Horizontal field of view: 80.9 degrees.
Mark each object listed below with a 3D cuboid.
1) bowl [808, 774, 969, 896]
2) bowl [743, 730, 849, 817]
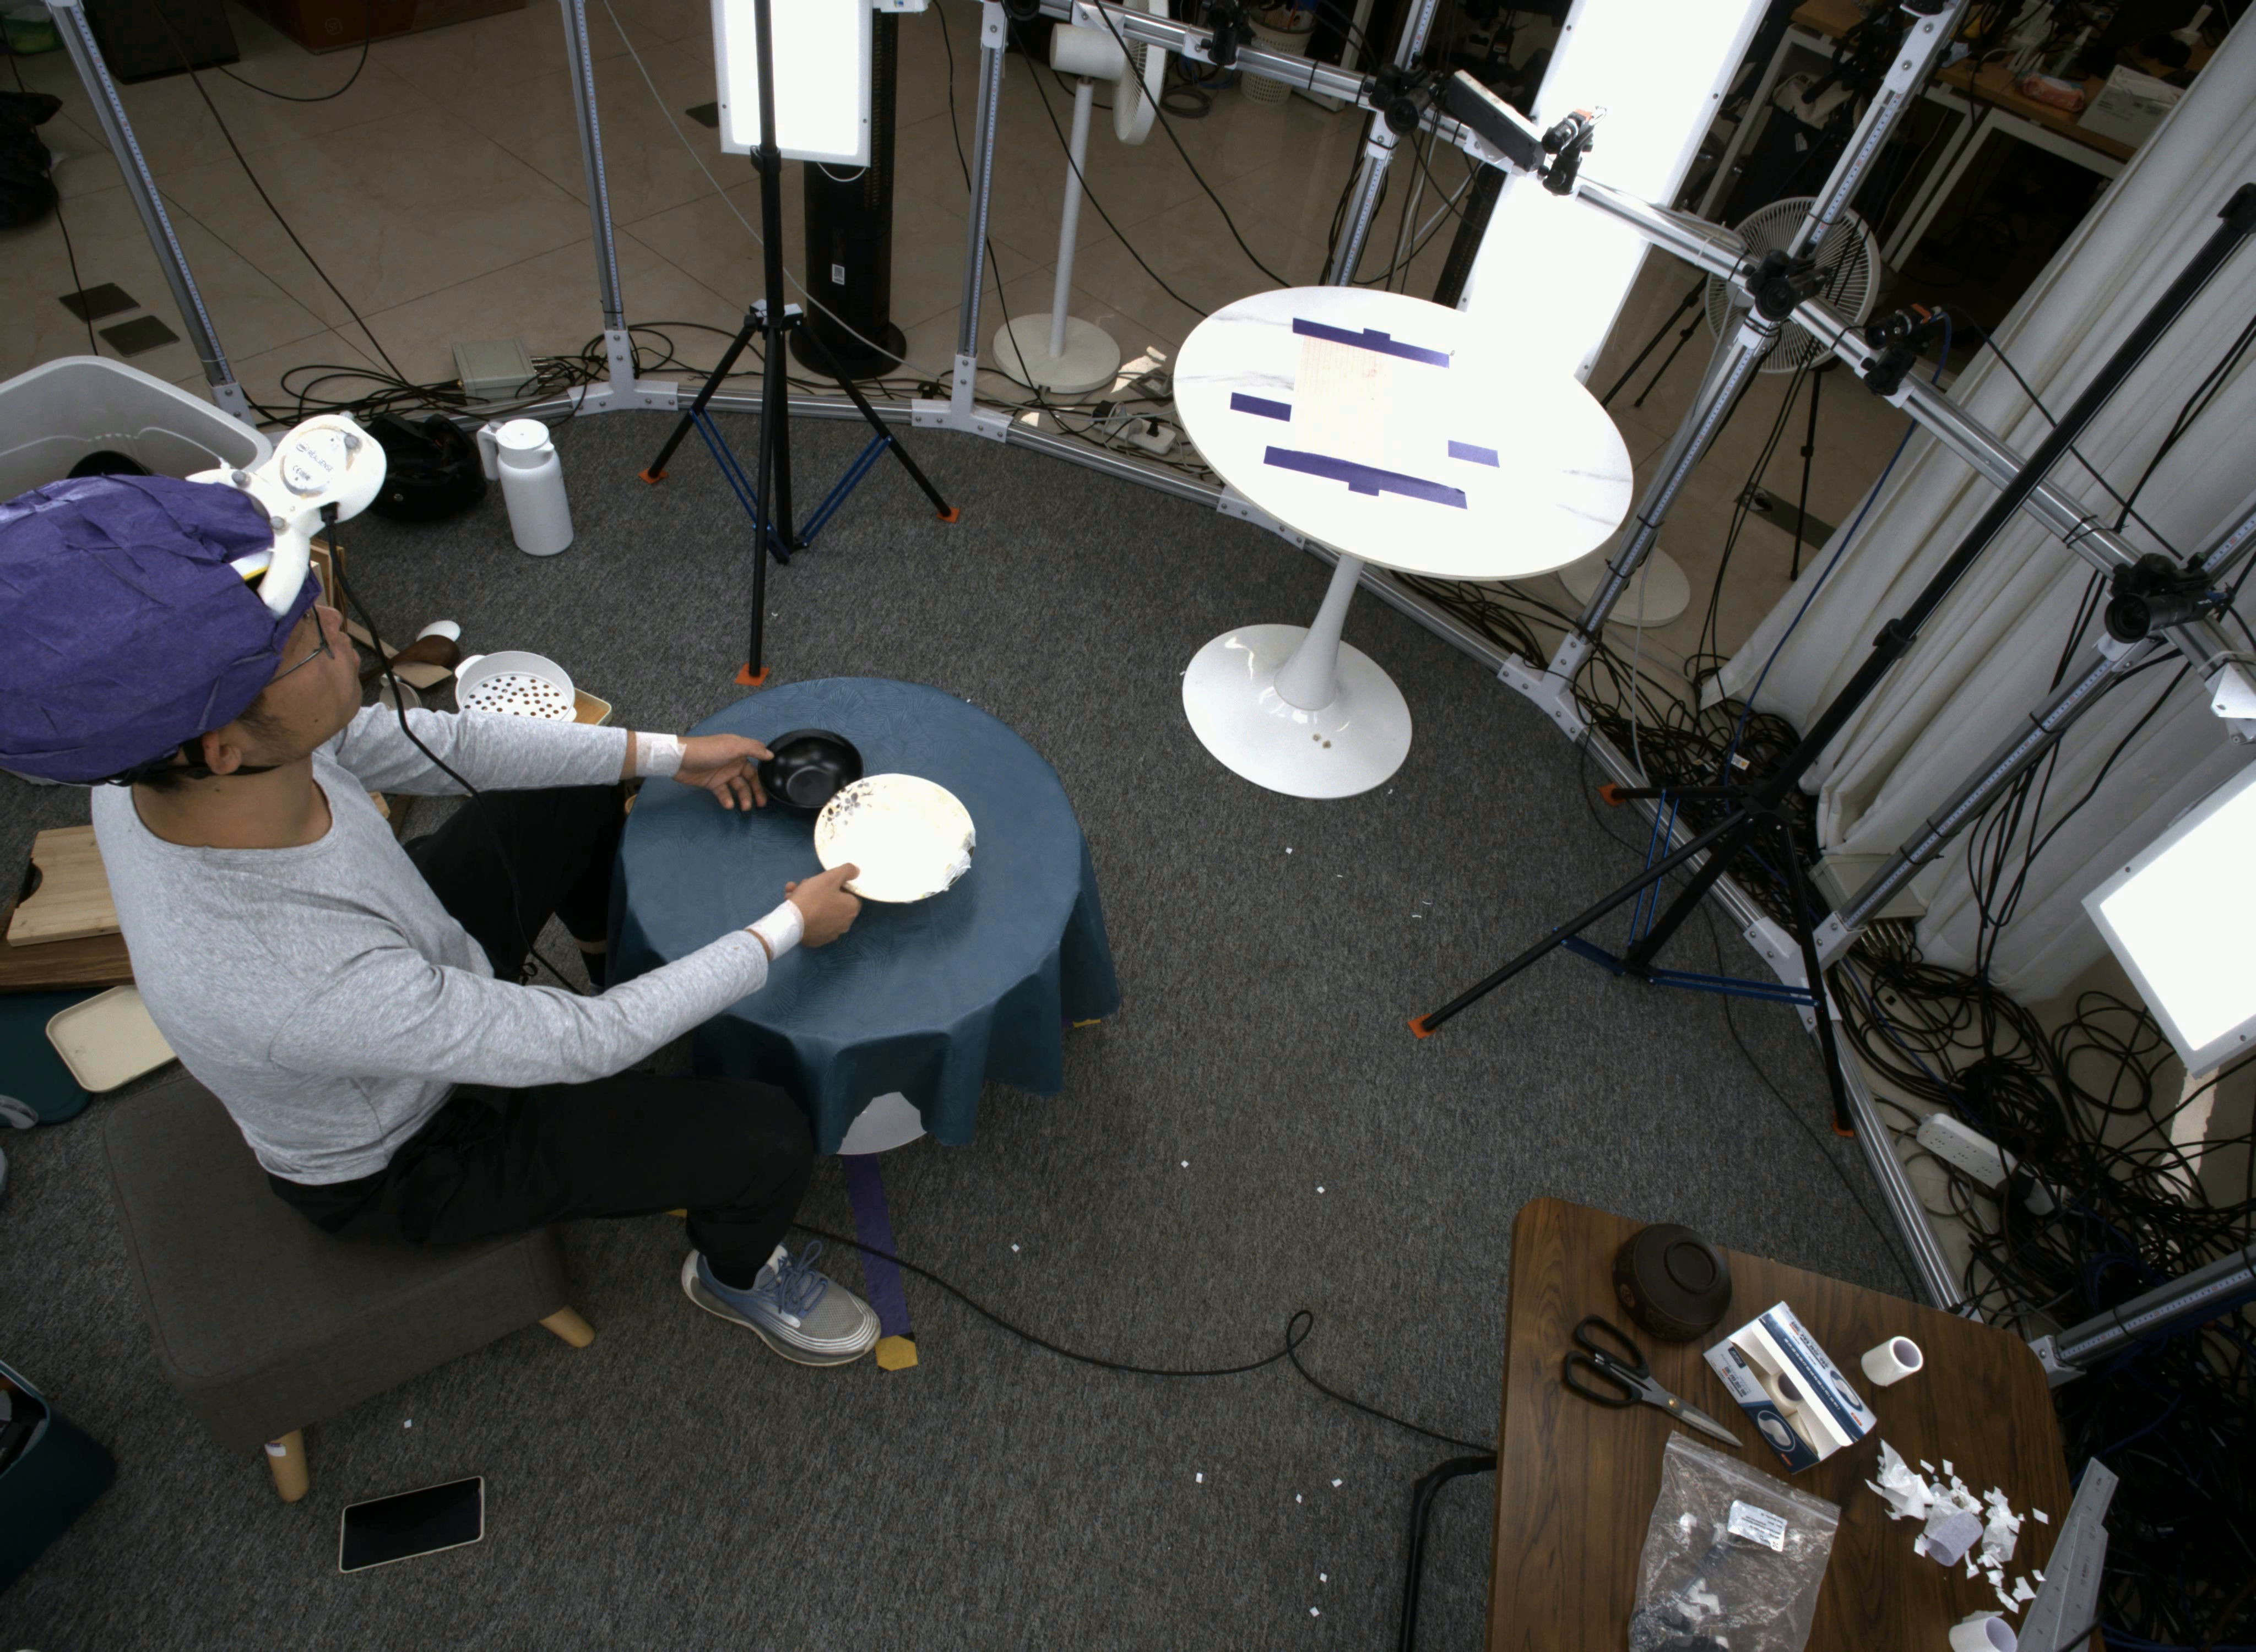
[{"bbox_3d":[-0.311,0.030,1.675,0.204,0.079,0.200,12,45,-11],"label":"bowl"},{"bbox_3d":[-0.445,-0.062,1.744,0.139,0.051,0.137,6,51,-6],"label":"bowl"}]
